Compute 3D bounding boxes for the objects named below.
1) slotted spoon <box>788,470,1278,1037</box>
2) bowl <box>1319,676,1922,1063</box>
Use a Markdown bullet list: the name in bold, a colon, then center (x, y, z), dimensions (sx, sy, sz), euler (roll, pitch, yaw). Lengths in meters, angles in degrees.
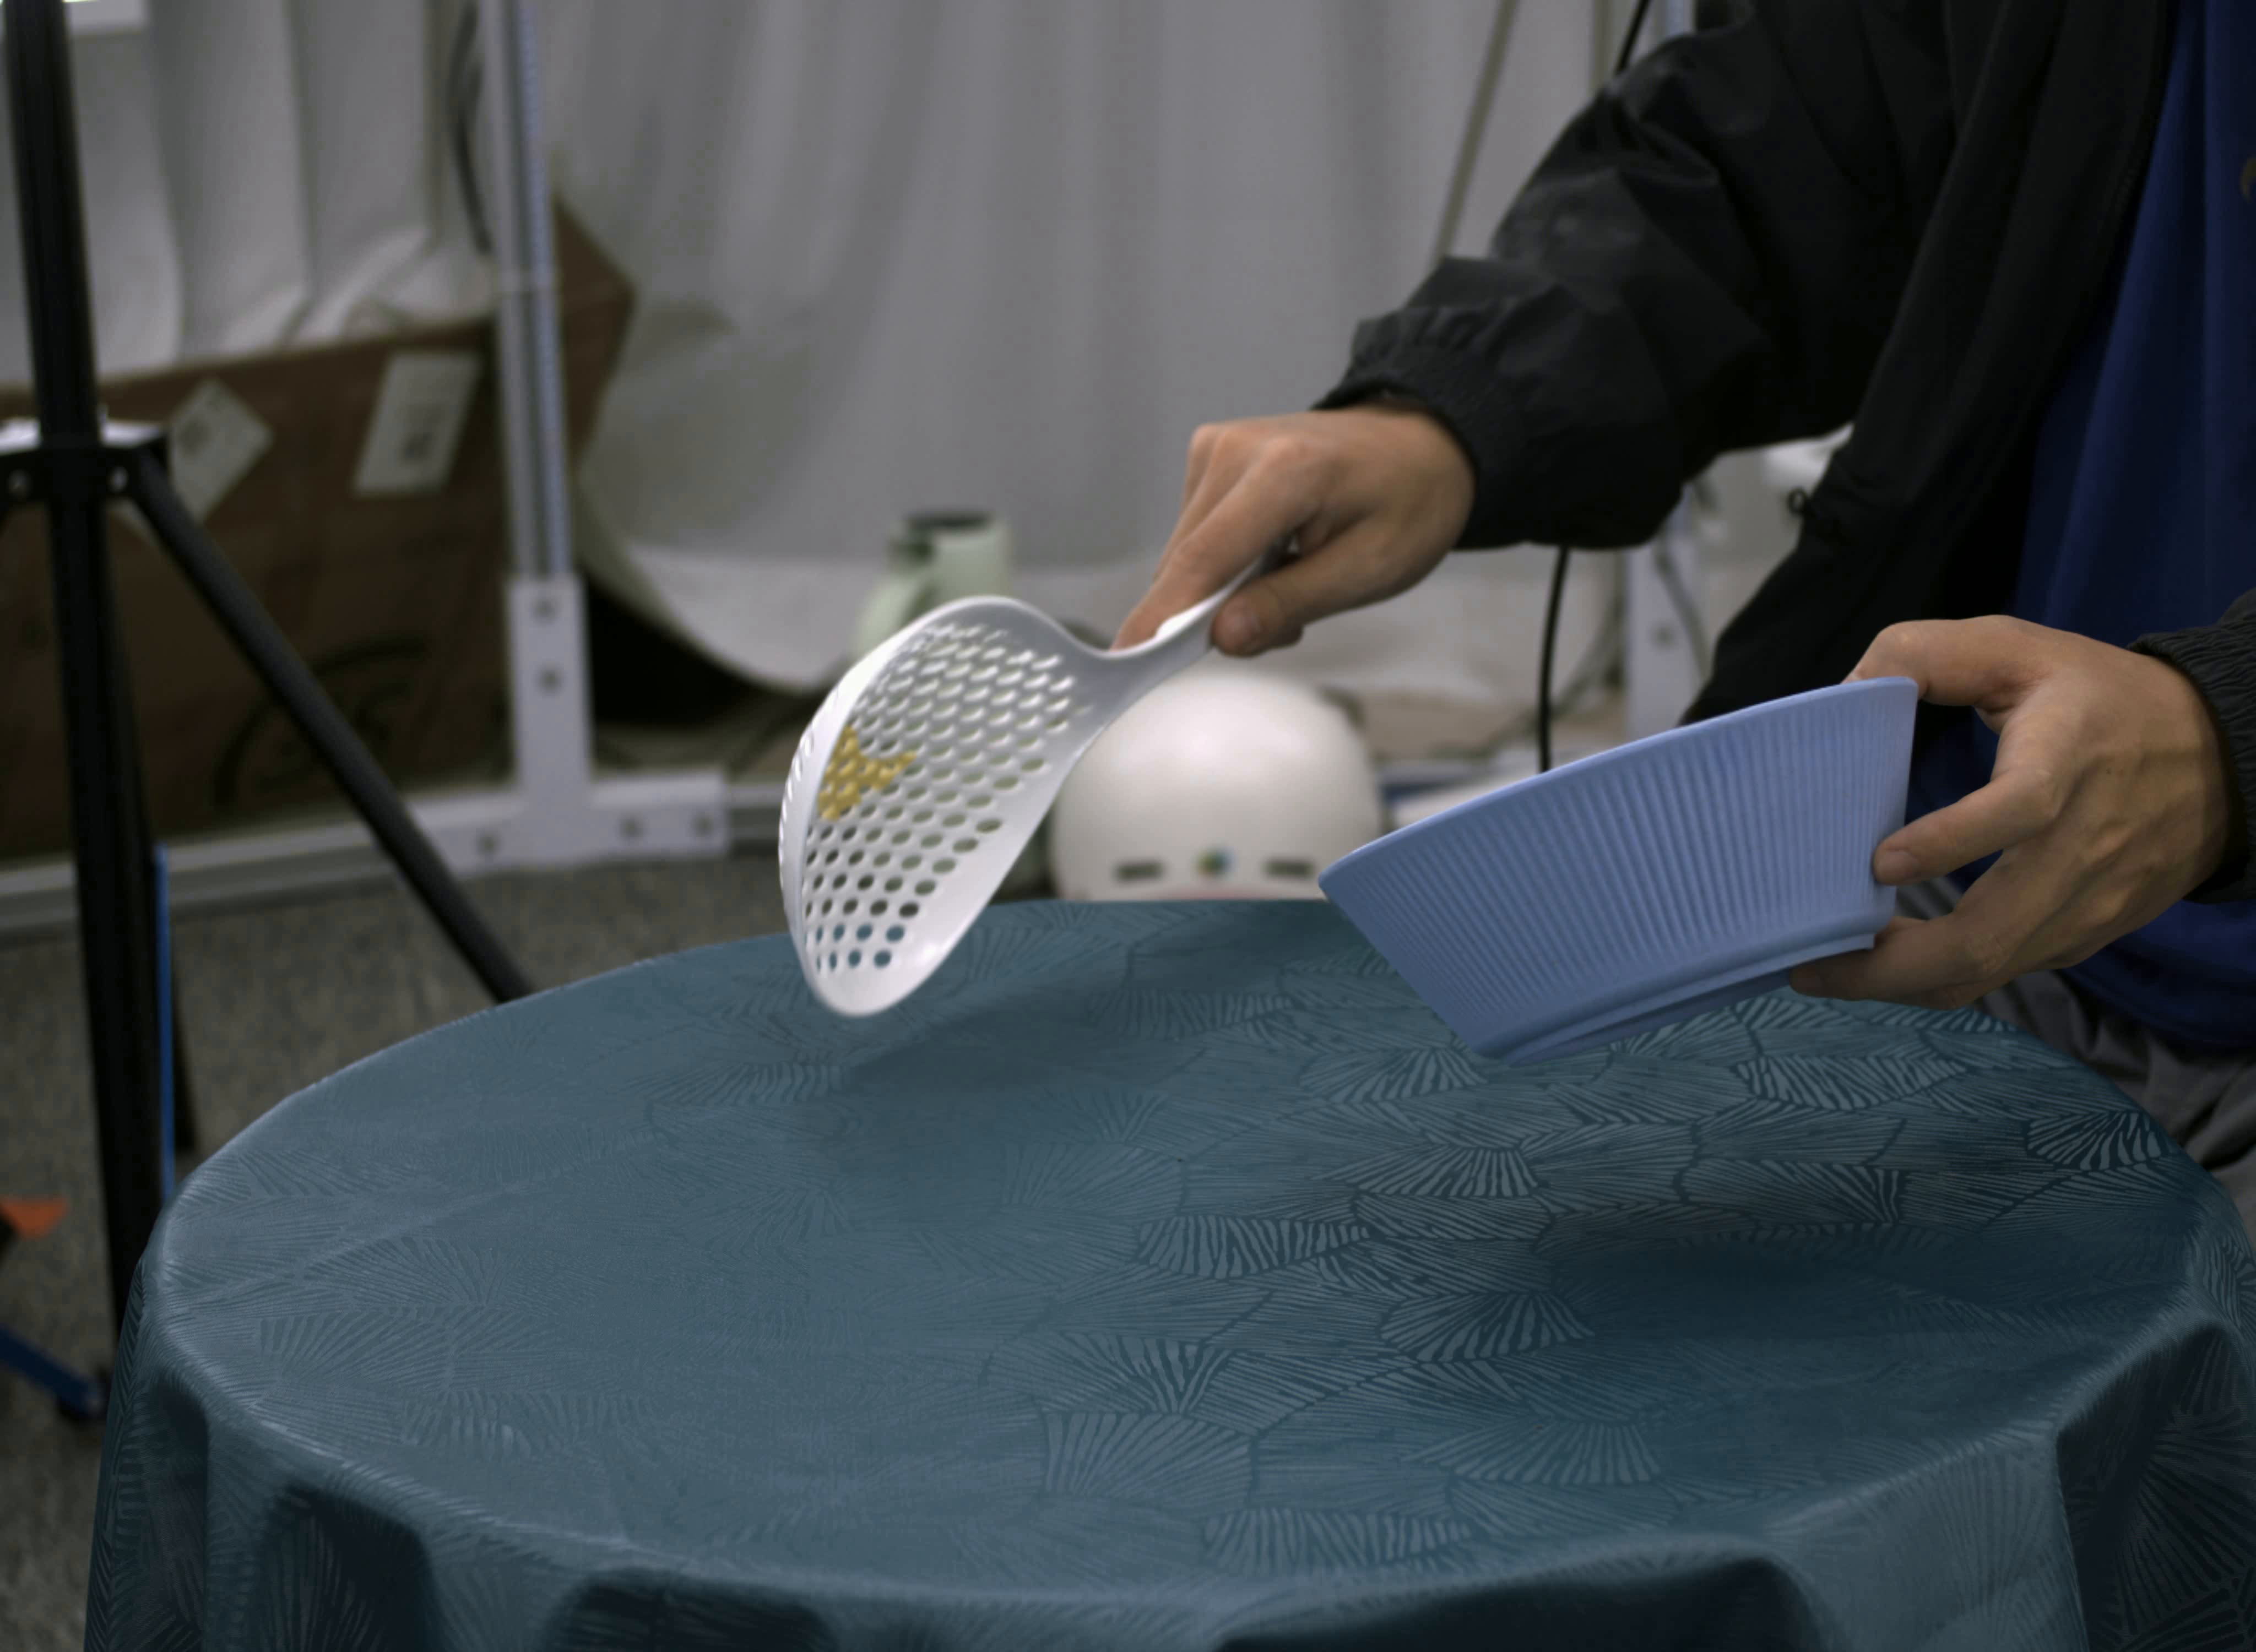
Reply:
- **slotted spoon**: center (-0.021, -0.046, 1.774), dimensions (0.051, 0.136, 0.342), euler (17, 31, 29)
- **bowl**: center (0.146, 0.018, 1.476), dimensions (0.175, 0.071, 0.176), euler (-17, -7, -4)
